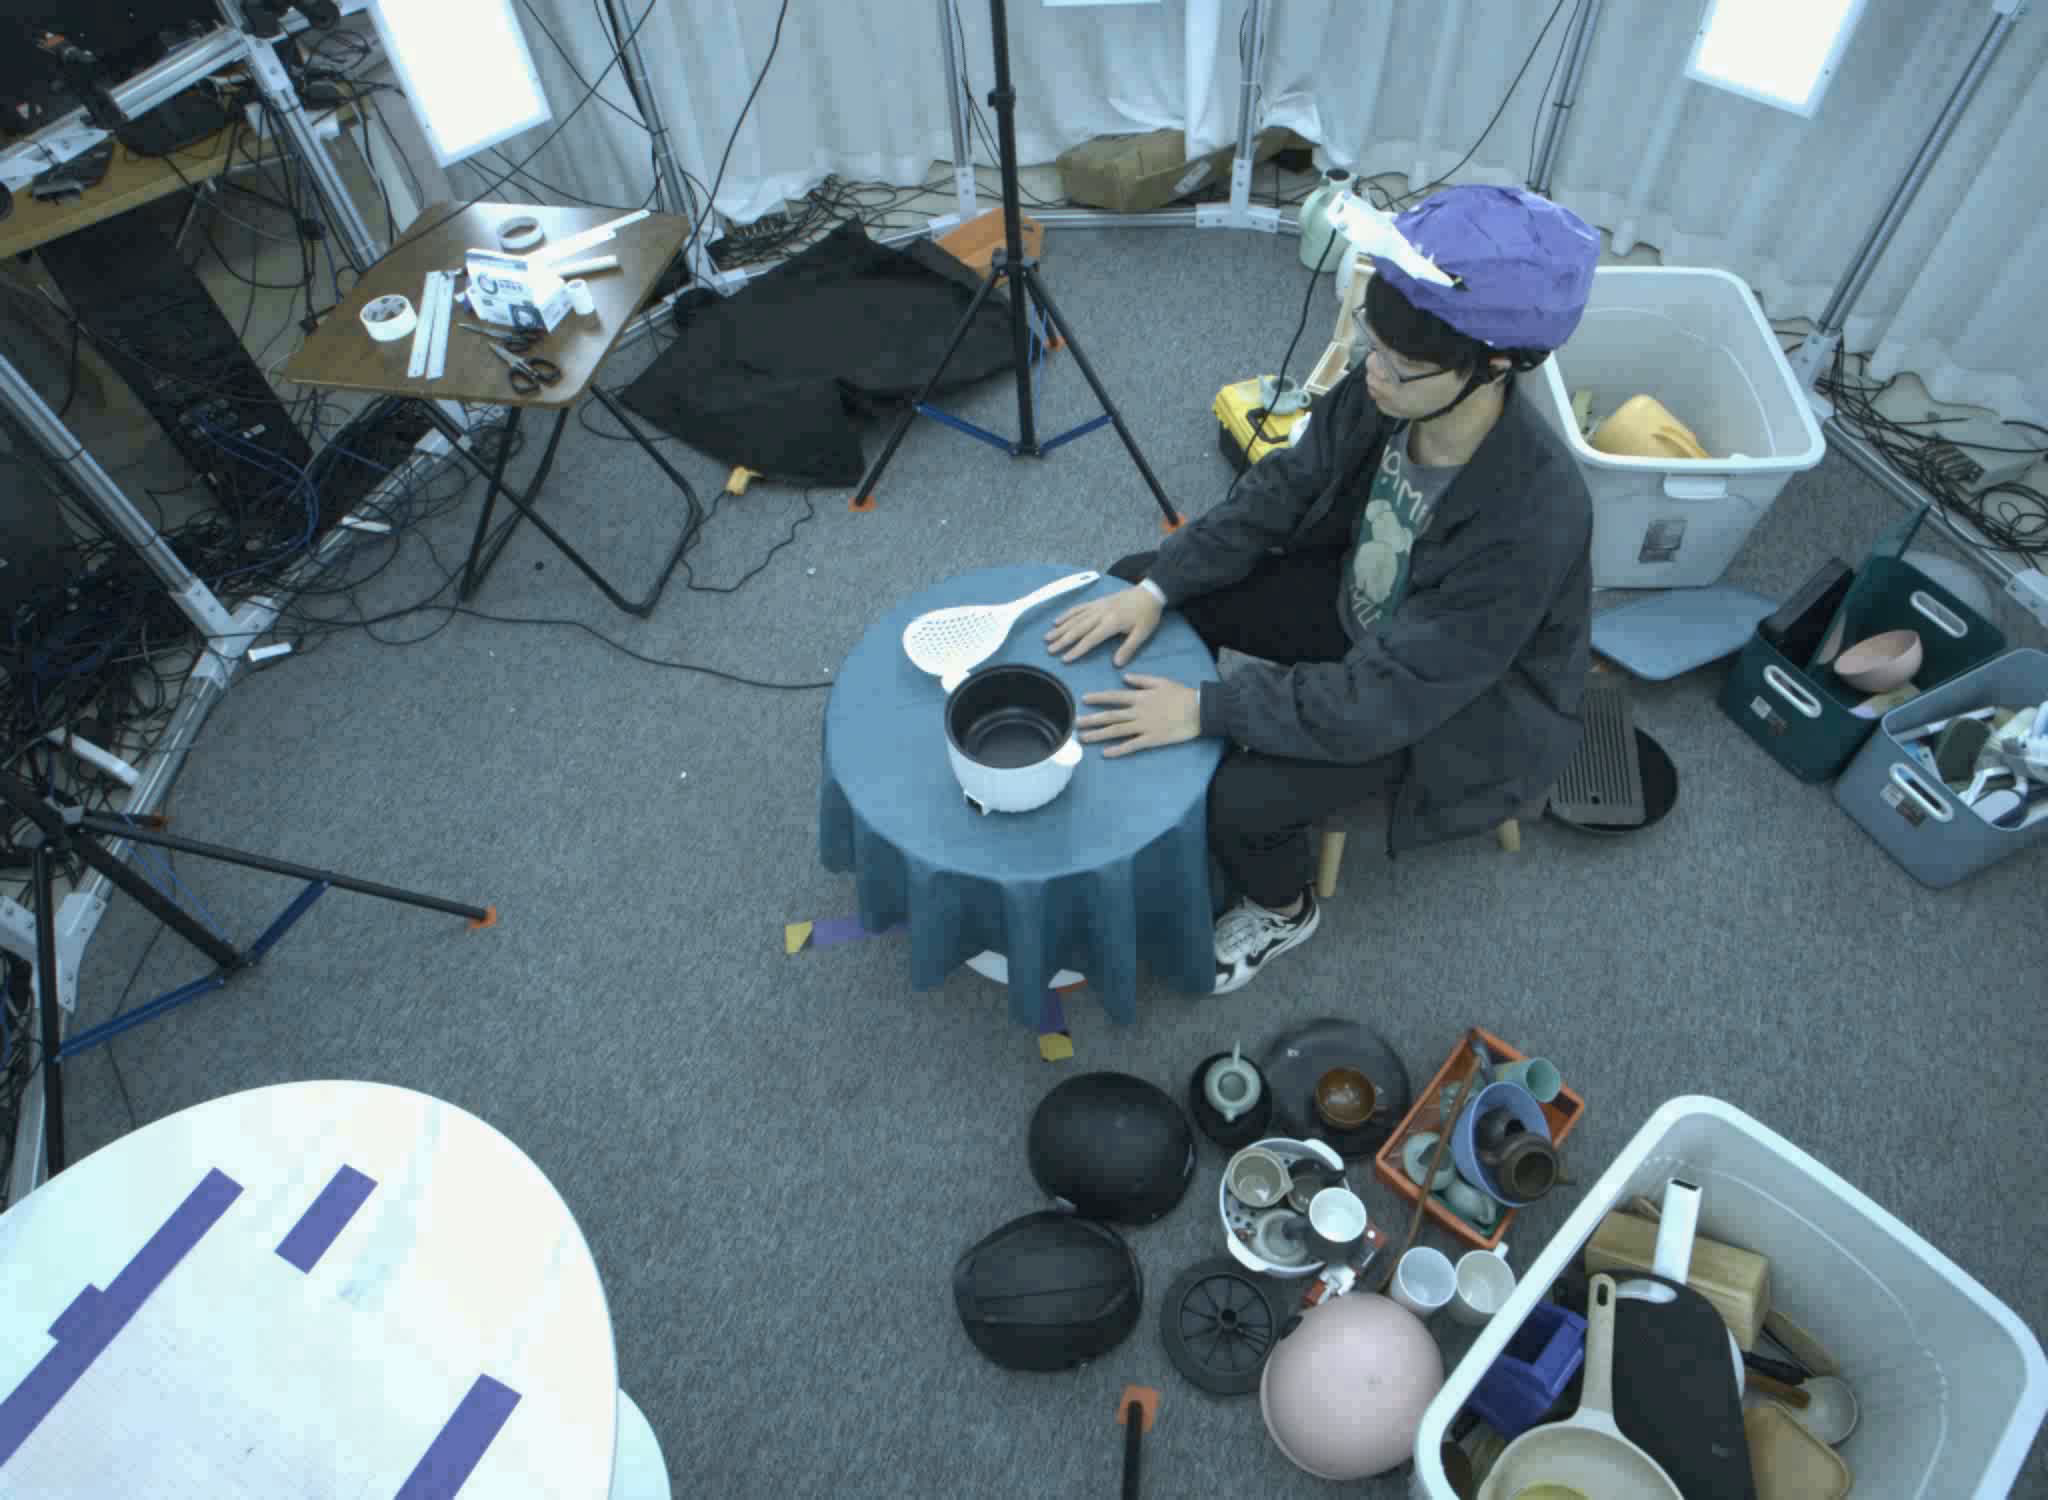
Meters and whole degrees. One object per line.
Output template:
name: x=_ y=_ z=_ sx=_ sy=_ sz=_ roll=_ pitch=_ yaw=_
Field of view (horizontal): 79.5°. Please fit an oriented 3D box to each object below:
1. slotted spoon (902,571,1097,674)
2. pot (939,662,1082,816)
slotted spoon: x=-0.025 y=-0.209 z=1.904 sx=0.350 sy=0.051 sz=0.134 roll=-31 pitch=57 yaw=-18
pot: x=-0.014 y=-0.014 z=1.704 sx=0.236 sy=0.144 sz=0.191 roll=34 pitch=65 yaw=22
